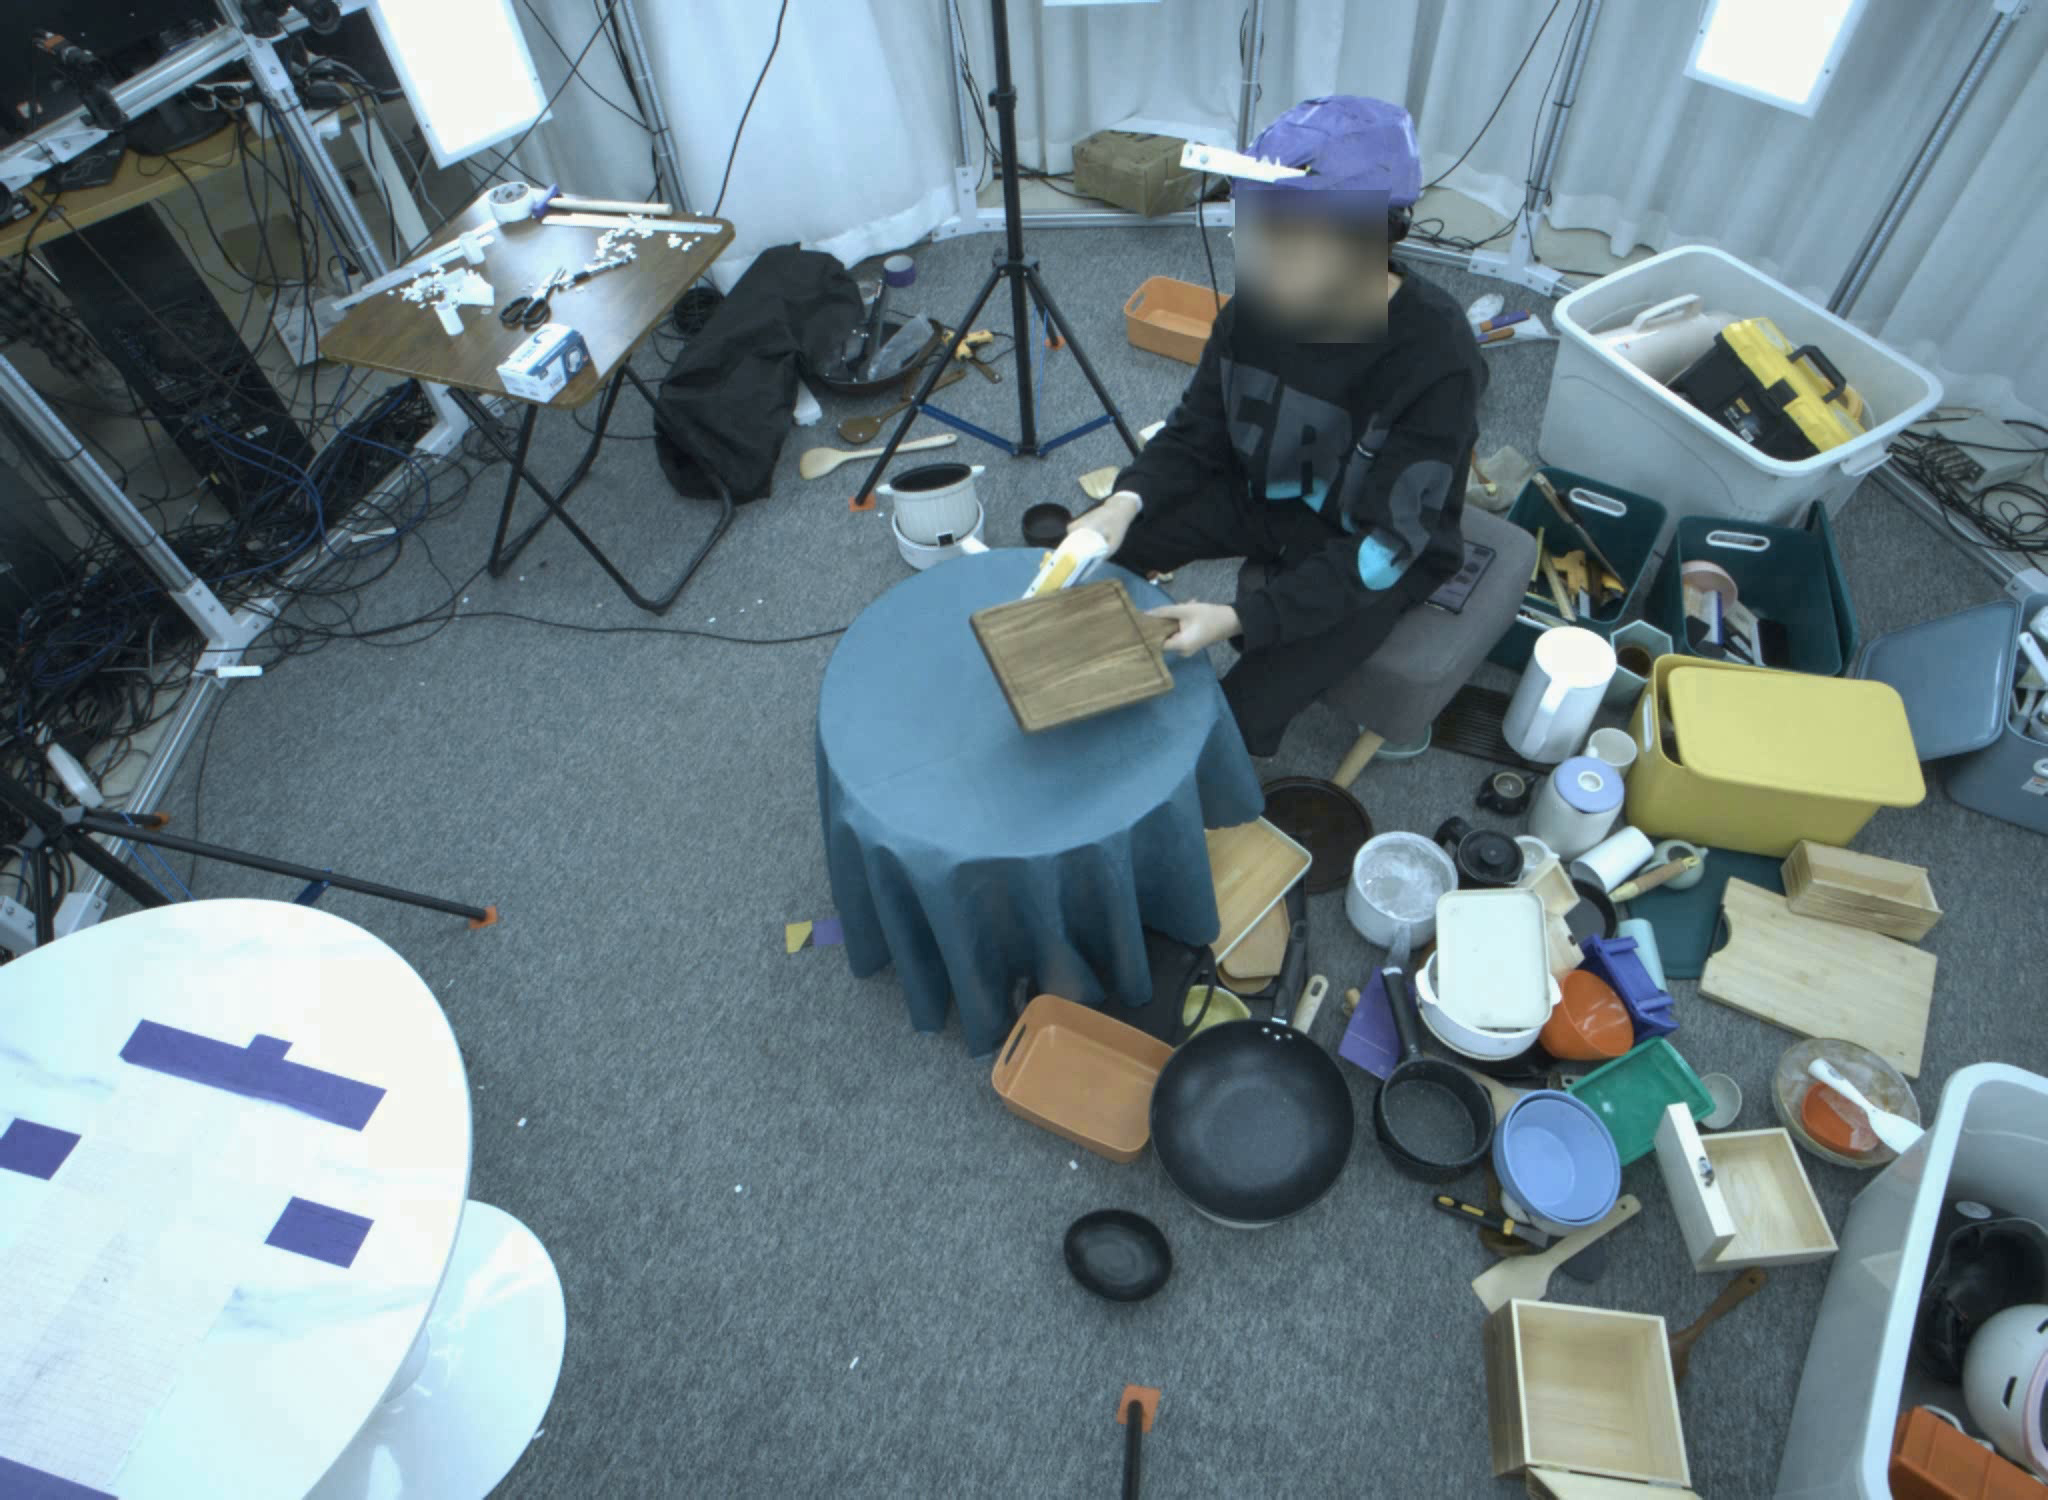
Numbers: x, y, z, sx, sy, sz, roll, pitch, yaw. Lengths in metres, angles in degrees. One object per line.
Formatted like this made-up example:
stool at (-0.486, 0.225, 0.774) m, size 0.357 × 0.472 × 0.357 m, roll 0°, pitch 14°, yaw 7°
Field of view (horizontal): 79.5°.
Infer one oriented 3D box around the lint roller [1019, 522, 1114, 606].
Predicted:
lint roller at (0.084, -0.281, 1.844) m, size 0.074 × 0.192 × 0.194 m, roll 42°, pitch 39°, yaw 9°

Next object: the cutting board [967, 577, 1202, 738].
cutting board at (0.111, -0.149, 1.755) m, size 0.357 × 0.023 × 0.199 m, roll -18°, pitch 73°, yaw -28°
